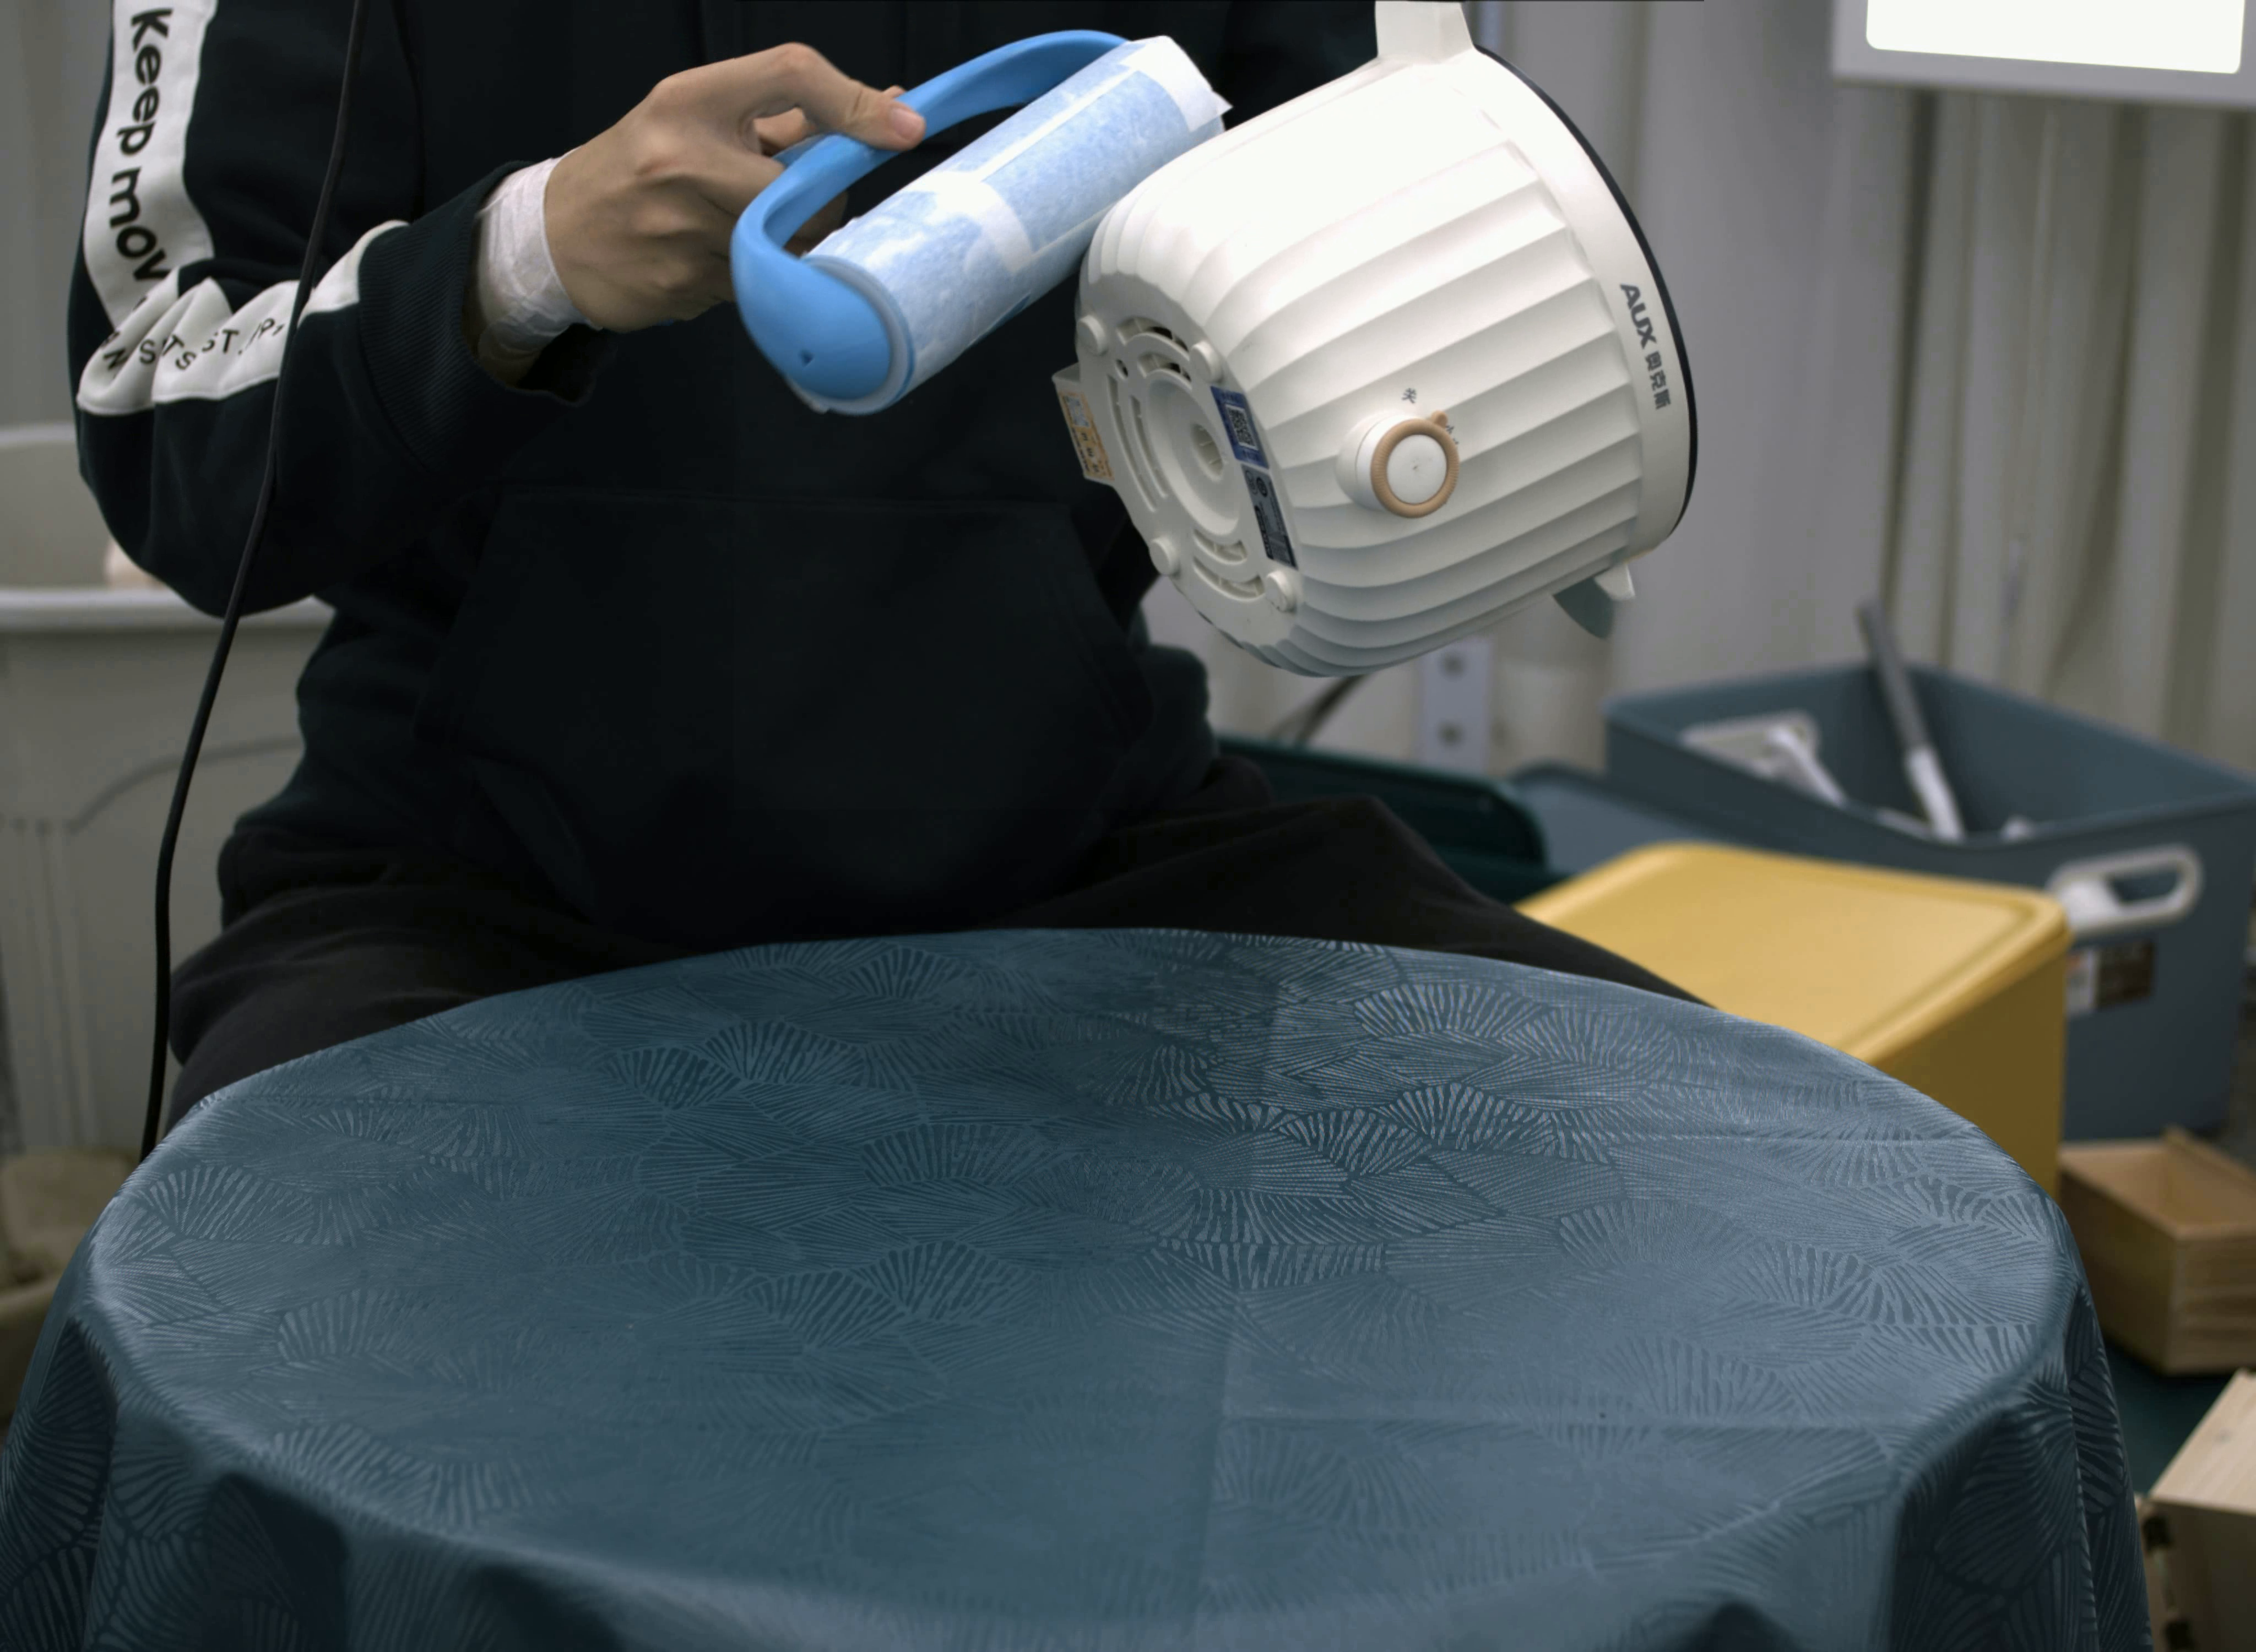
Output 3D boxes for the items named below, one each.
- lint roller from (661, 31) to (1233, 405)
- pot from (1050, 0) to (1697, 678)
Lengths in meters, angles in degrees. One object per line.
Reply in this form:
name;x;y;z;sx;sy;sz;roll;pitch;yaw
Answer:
lint roller;-0.086;-0.194;1.706;0.178;0.068;0.228;-2;26;30
pot;0.076;-0.140;1.671;0.143;0.243;0.188;-29;24;-23
